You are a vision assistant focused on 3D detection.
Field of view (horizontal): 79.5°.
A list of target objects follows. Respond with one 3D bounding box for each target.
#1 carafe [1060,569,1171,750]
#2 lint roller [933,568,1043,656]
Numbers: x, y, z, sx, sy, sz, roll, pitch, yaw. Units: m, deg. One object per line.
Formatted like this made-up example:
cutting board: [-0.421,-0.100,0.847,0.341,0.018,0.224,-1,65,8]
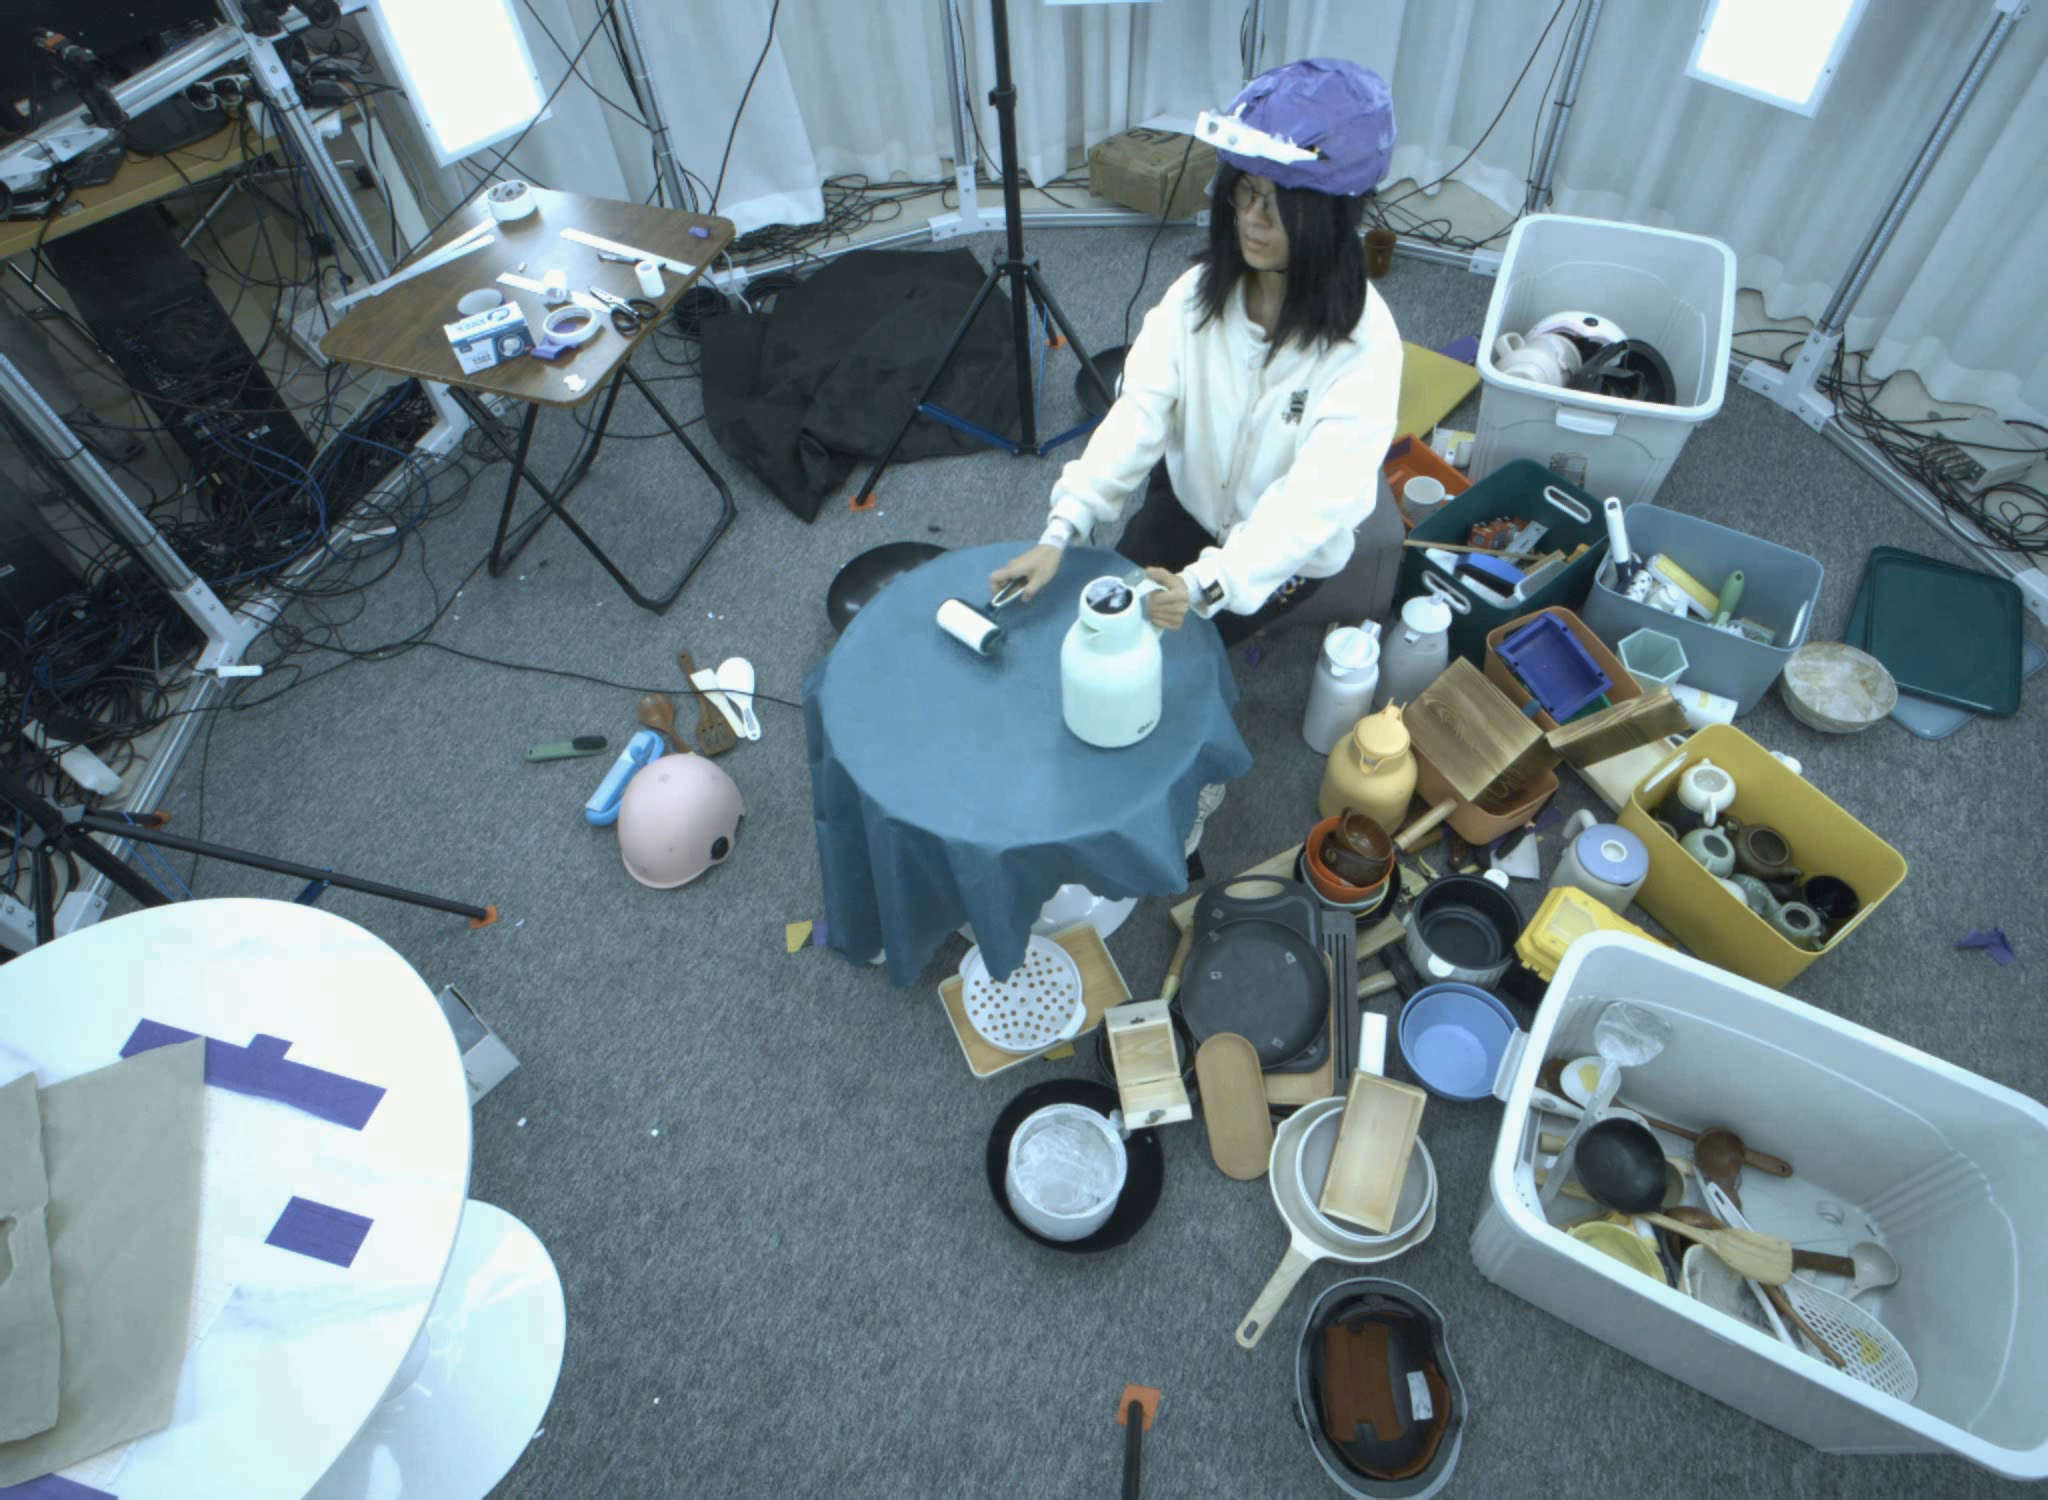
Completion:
carafe: [0.132,-0.134,1.724,0.188,0.259,0.141,-38,59,-25]
lint roller: [-0.042,-0.233,1.899,0.180,0.049,0.131,-45,60,-12]
